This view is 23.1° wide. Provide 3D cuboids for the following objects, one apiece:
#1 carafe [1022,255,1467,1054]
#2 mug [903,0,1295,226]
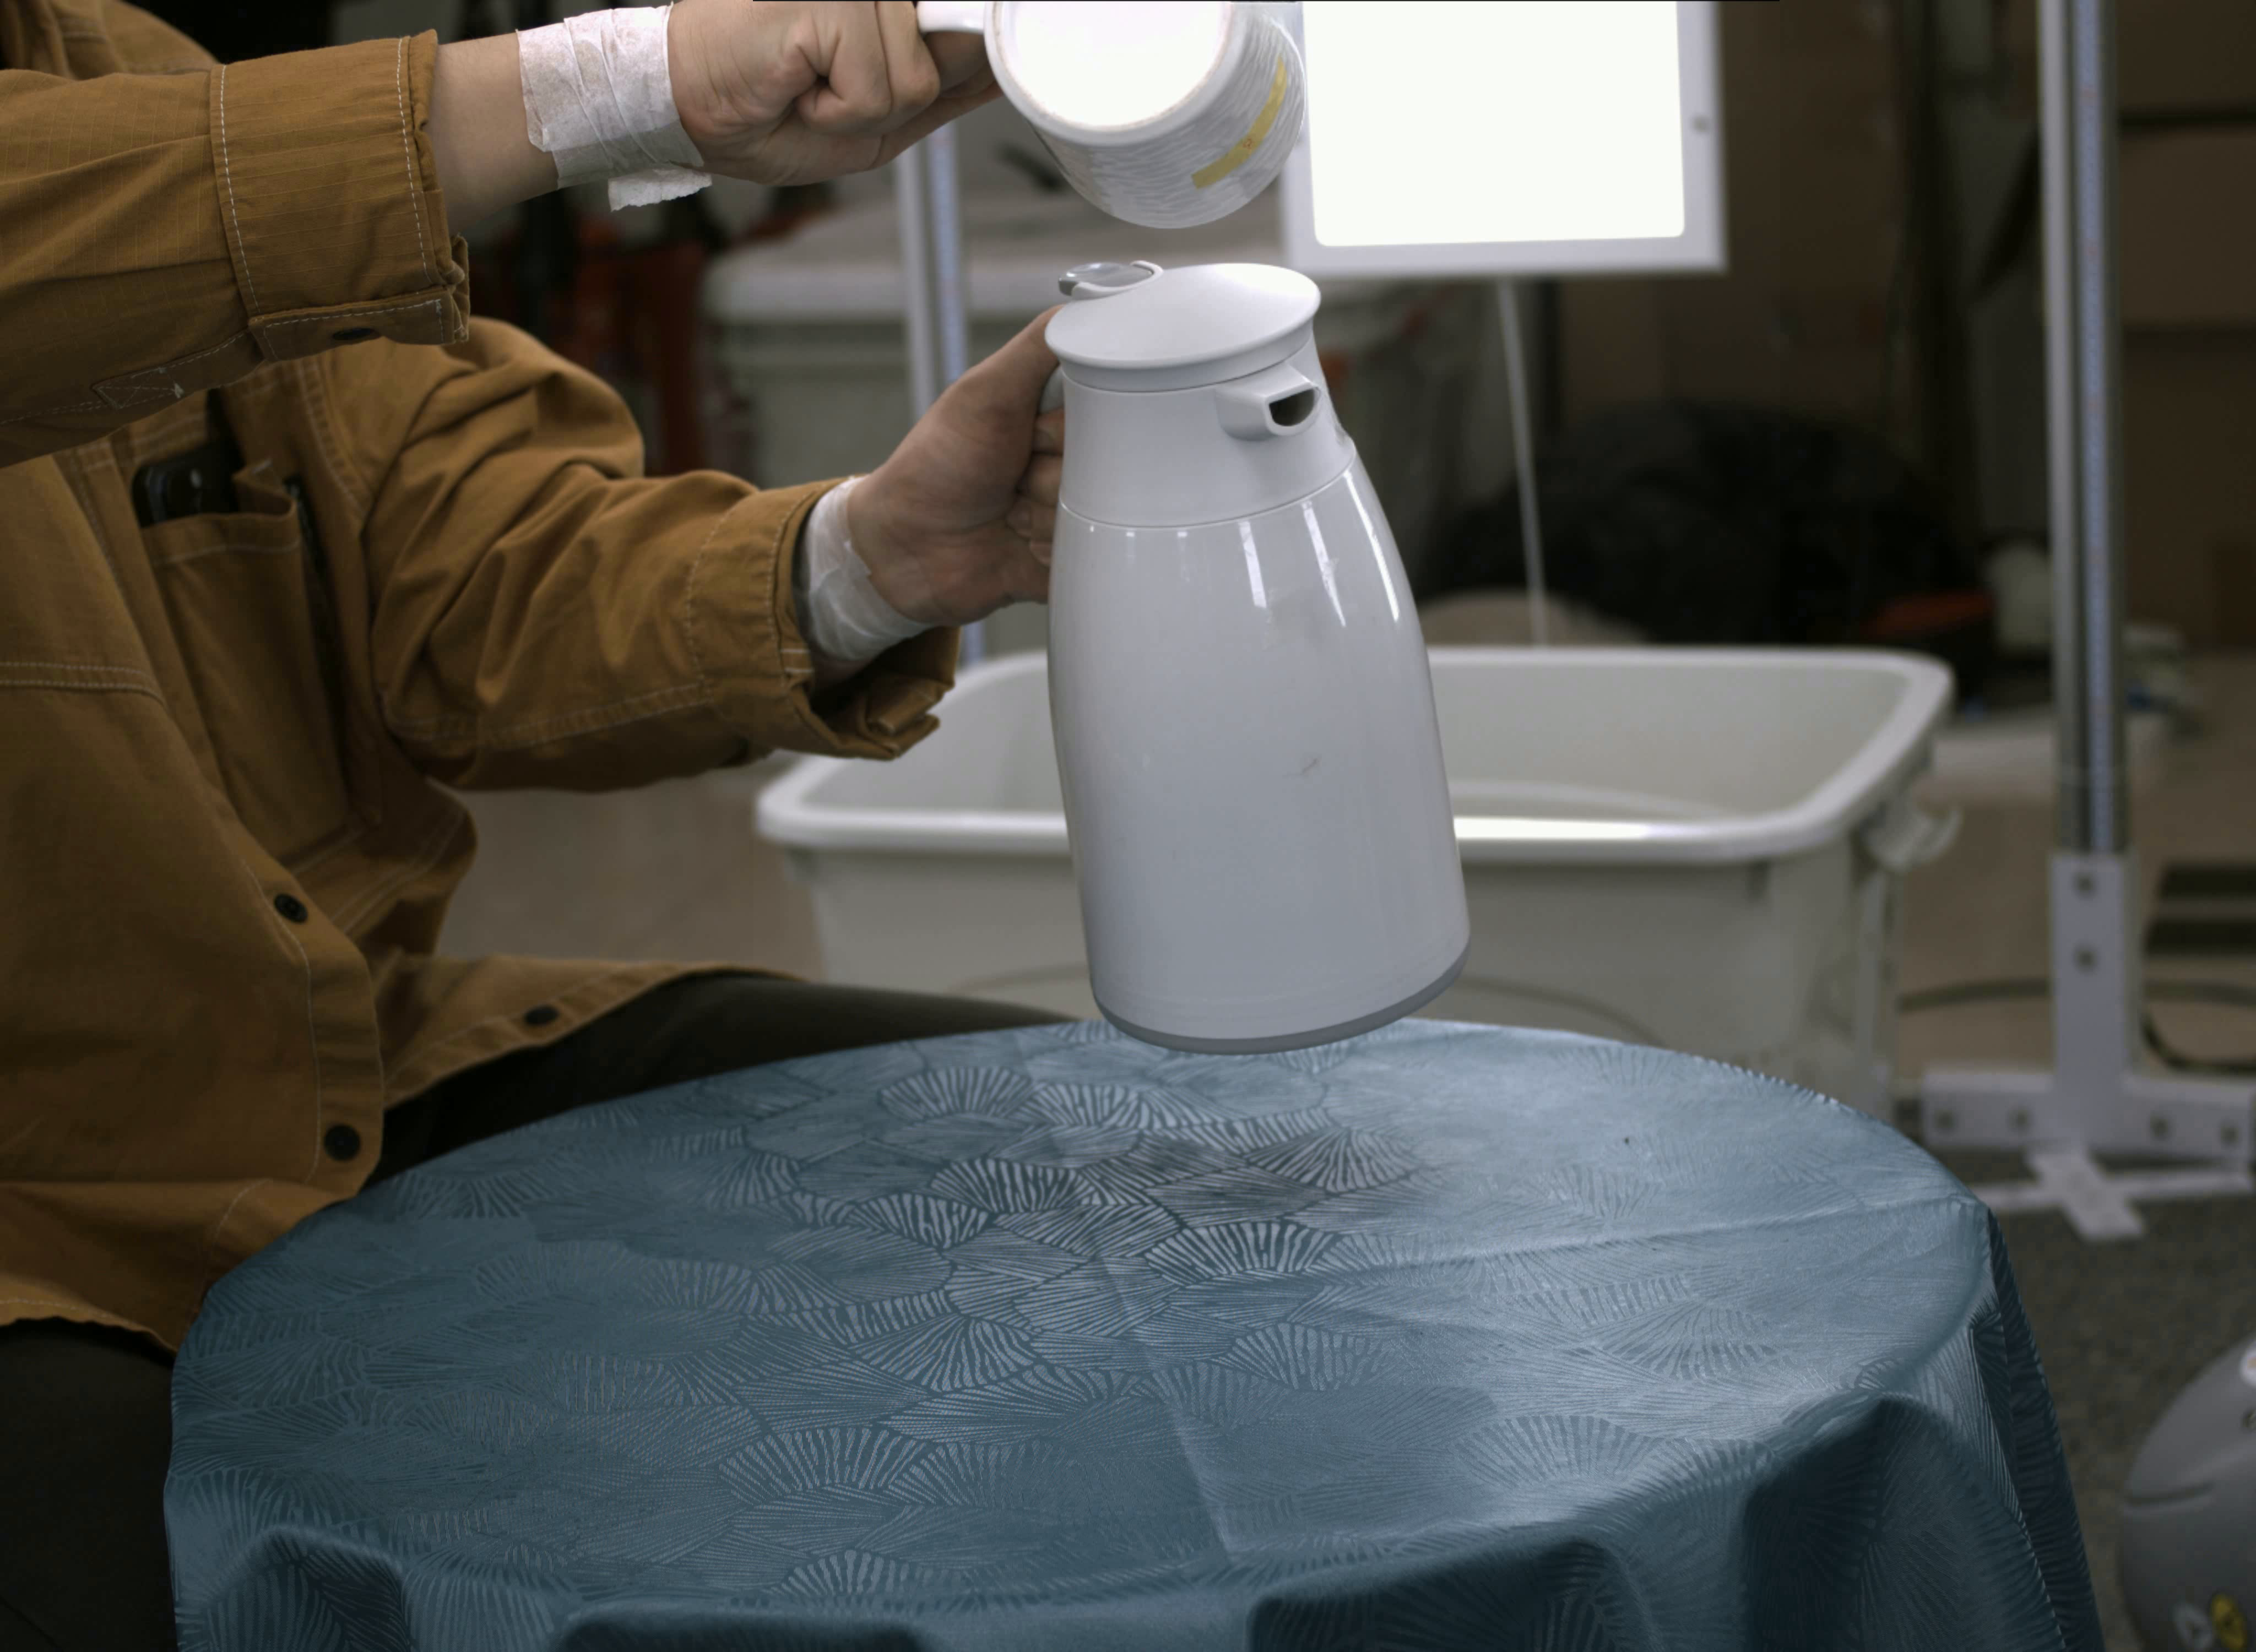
[{"bbox_3d":[0.022,-0.068,1.852,0.130,0.249,0.171,-23,27,-26],"label":"carafe"},{"bbox_3d":[-0.012,-0.244,1.713,0.119,0.085,0.101,13,-5,14],"label":"mug"}]
